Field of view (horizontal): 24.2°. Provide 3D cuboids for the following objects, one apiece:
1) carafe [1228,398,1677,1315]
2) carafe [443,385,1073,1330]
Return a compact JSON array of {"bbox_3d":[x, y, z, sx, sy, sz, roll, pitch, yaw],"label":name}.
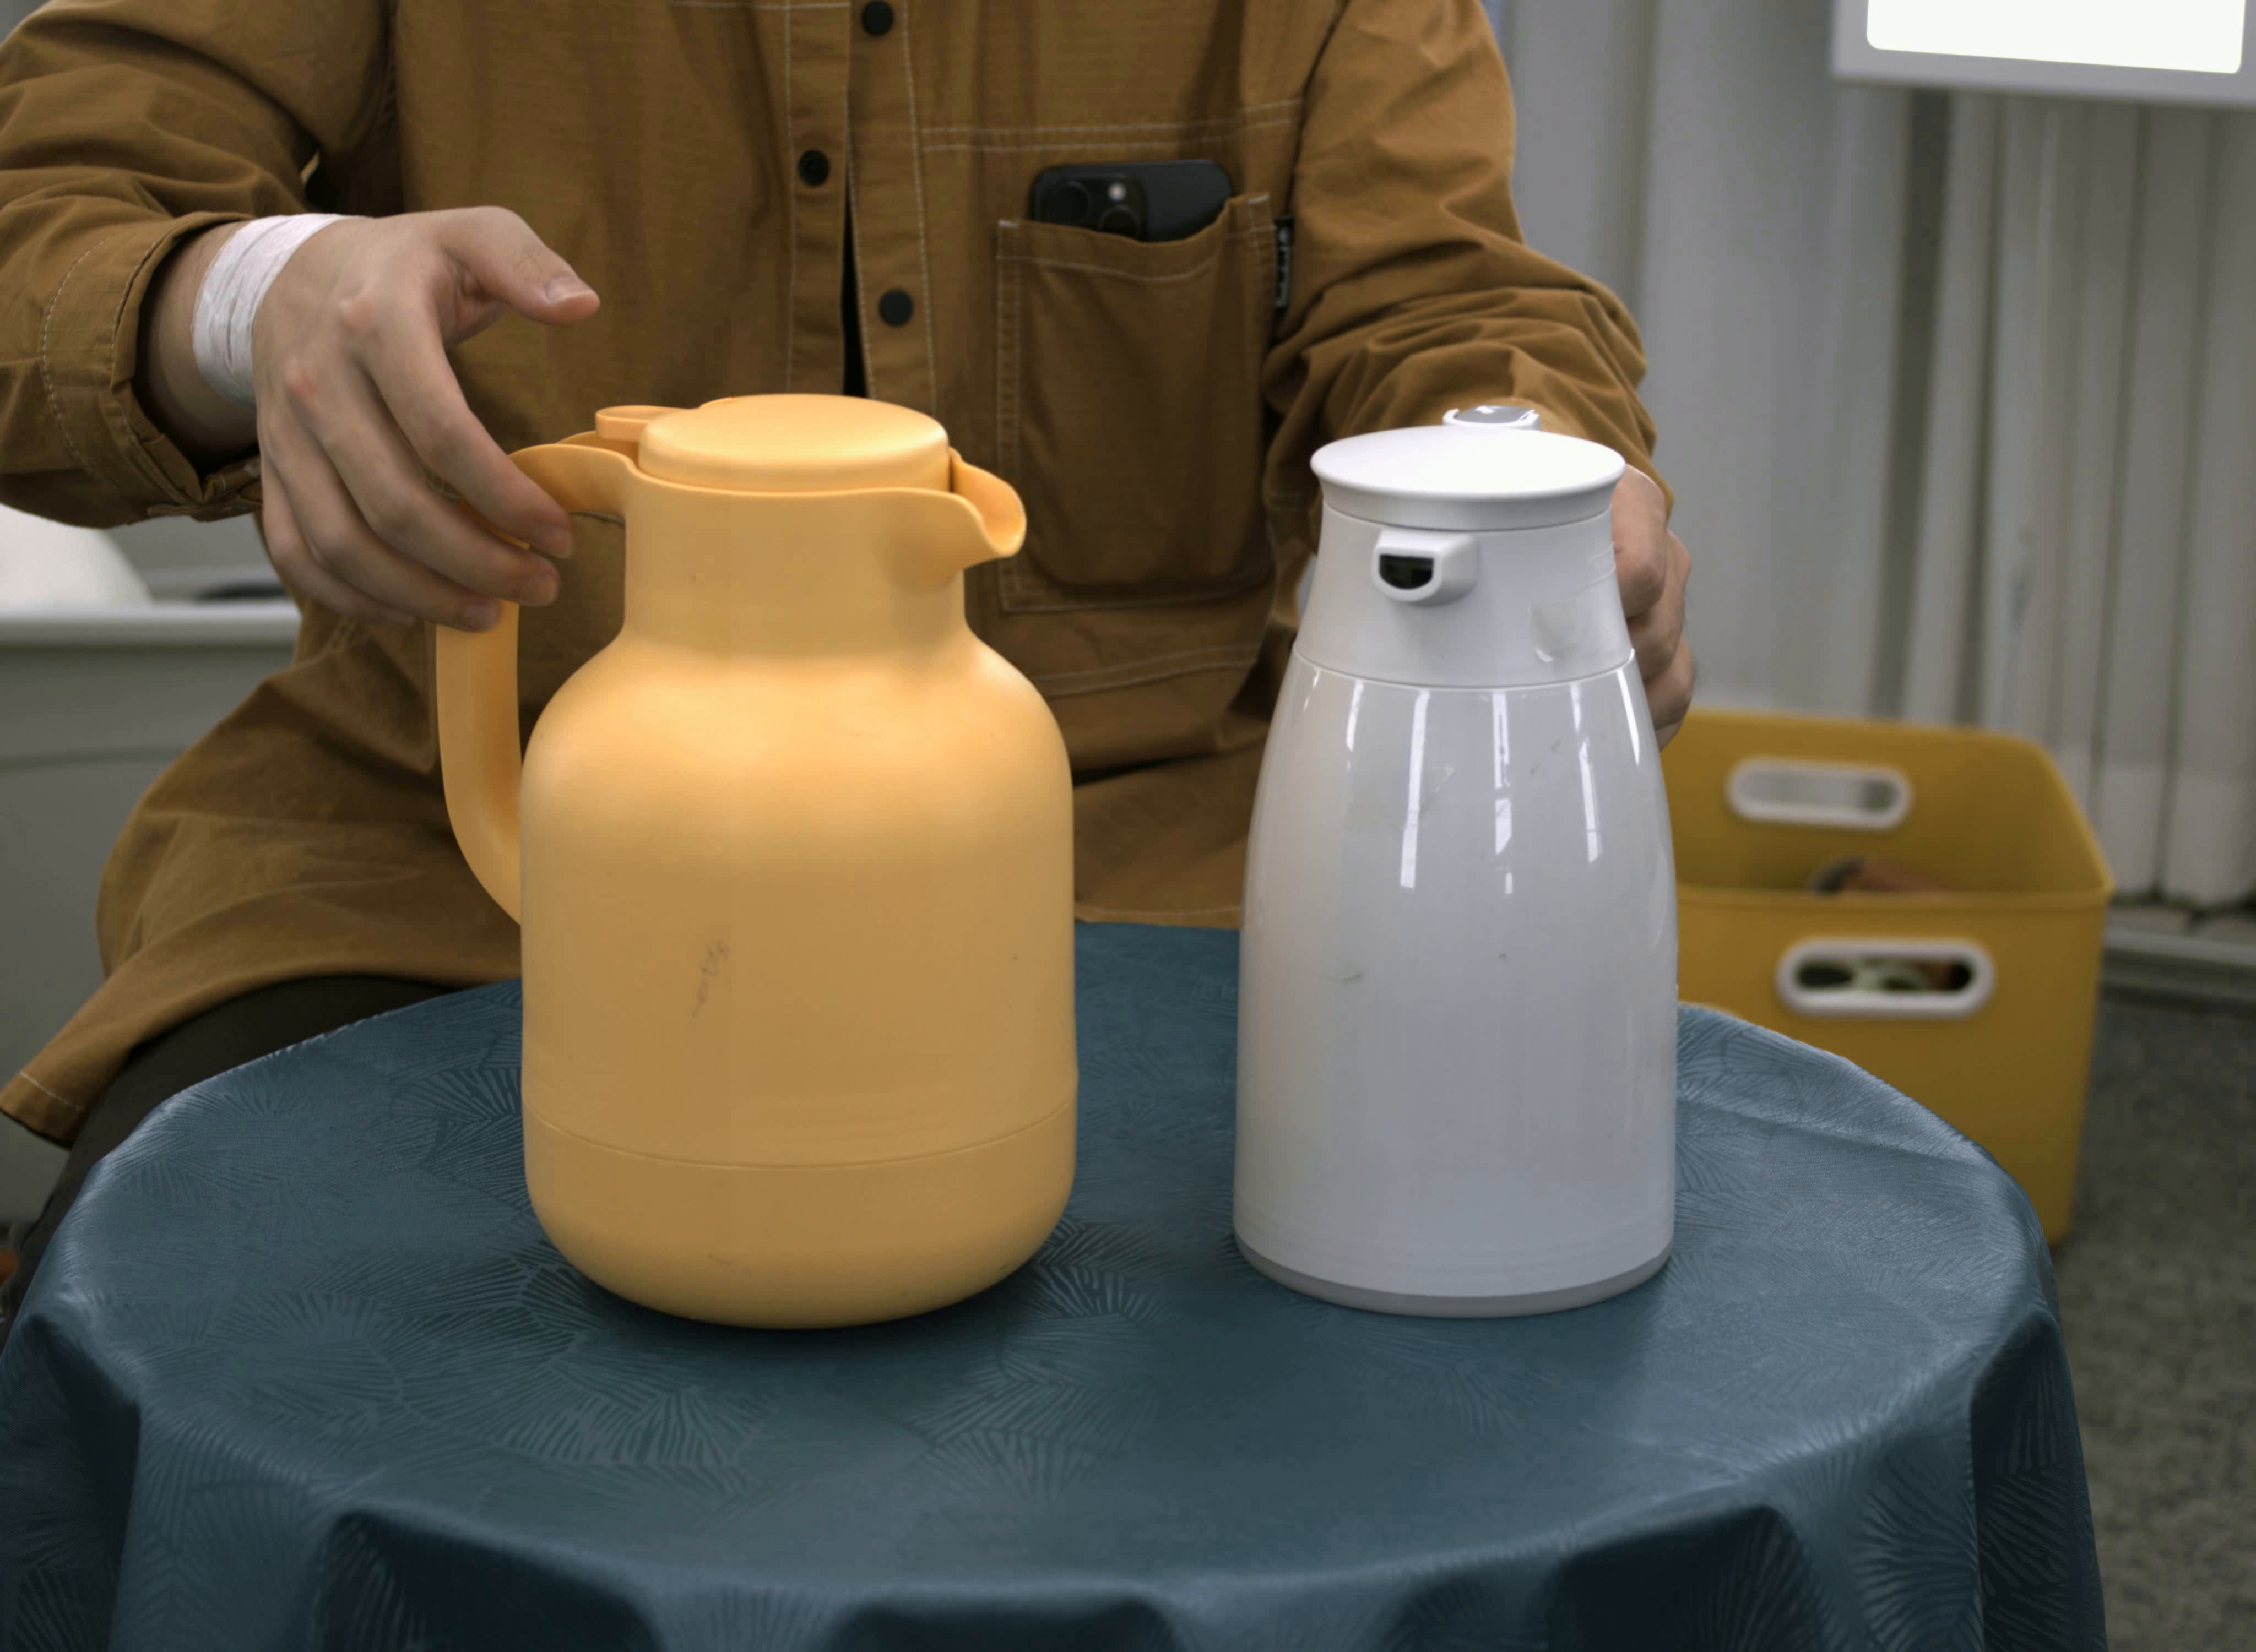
[{"bbox_3d":[0.102,0.000,1.564,0.131,0.250,0.168,5,16,17],"label":"carafe"},{"bbox_3d":[-0.112,0.002,1.531,0.200,0.262,0.164,12,18,31],"label":"carafe"}]
